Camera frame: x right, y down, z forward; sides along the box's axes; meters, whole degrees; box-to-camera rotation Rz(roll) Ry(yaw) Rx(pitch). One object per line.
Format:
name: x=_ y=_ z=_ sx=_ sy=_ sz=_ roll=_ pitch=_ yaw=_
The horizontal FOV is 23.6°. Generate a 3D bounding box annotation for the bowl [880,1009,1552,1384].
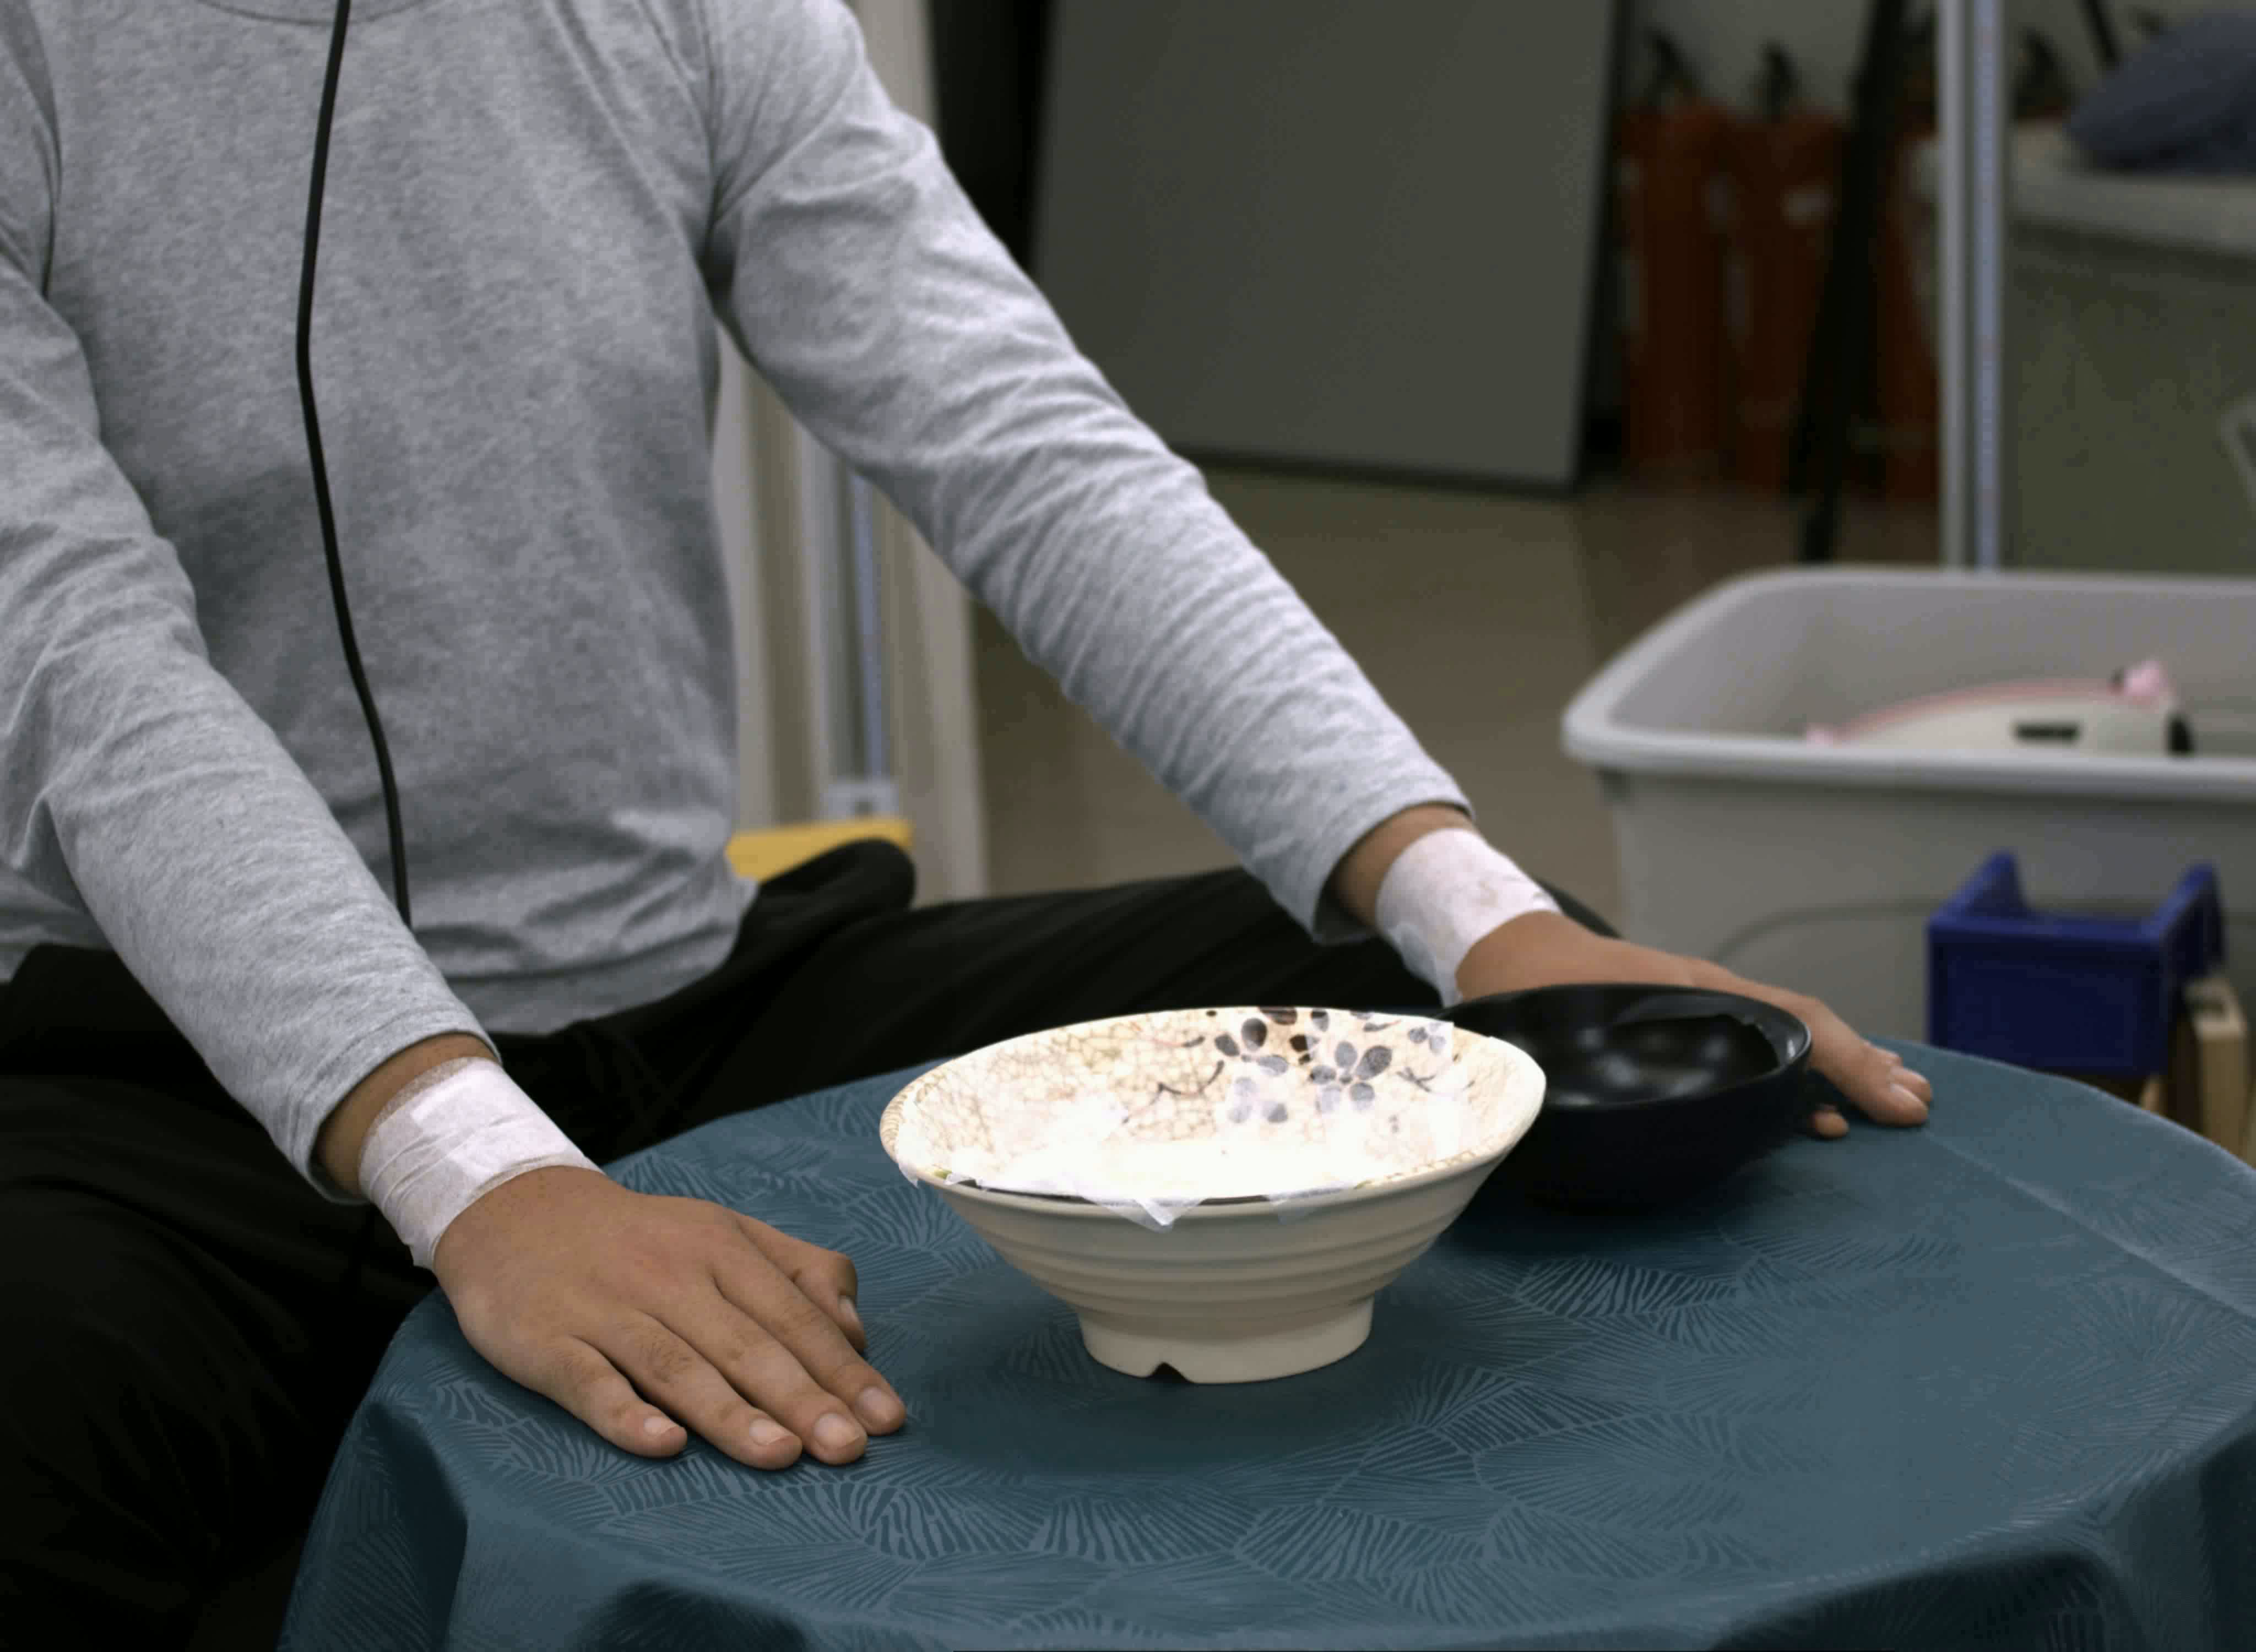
bowl: x=0.028 y=0.117 z=1.617 sx=0.201 sy=0.079 sz=0.204 roll=-4 pitch=12 yaw=0

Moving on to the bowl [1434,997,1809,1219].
bowl: x=0.153 y=0.095 z=1.743 sx=0.138 sy=0.050 sz=0.140 roll=-5 pitch=10 yaw=0
